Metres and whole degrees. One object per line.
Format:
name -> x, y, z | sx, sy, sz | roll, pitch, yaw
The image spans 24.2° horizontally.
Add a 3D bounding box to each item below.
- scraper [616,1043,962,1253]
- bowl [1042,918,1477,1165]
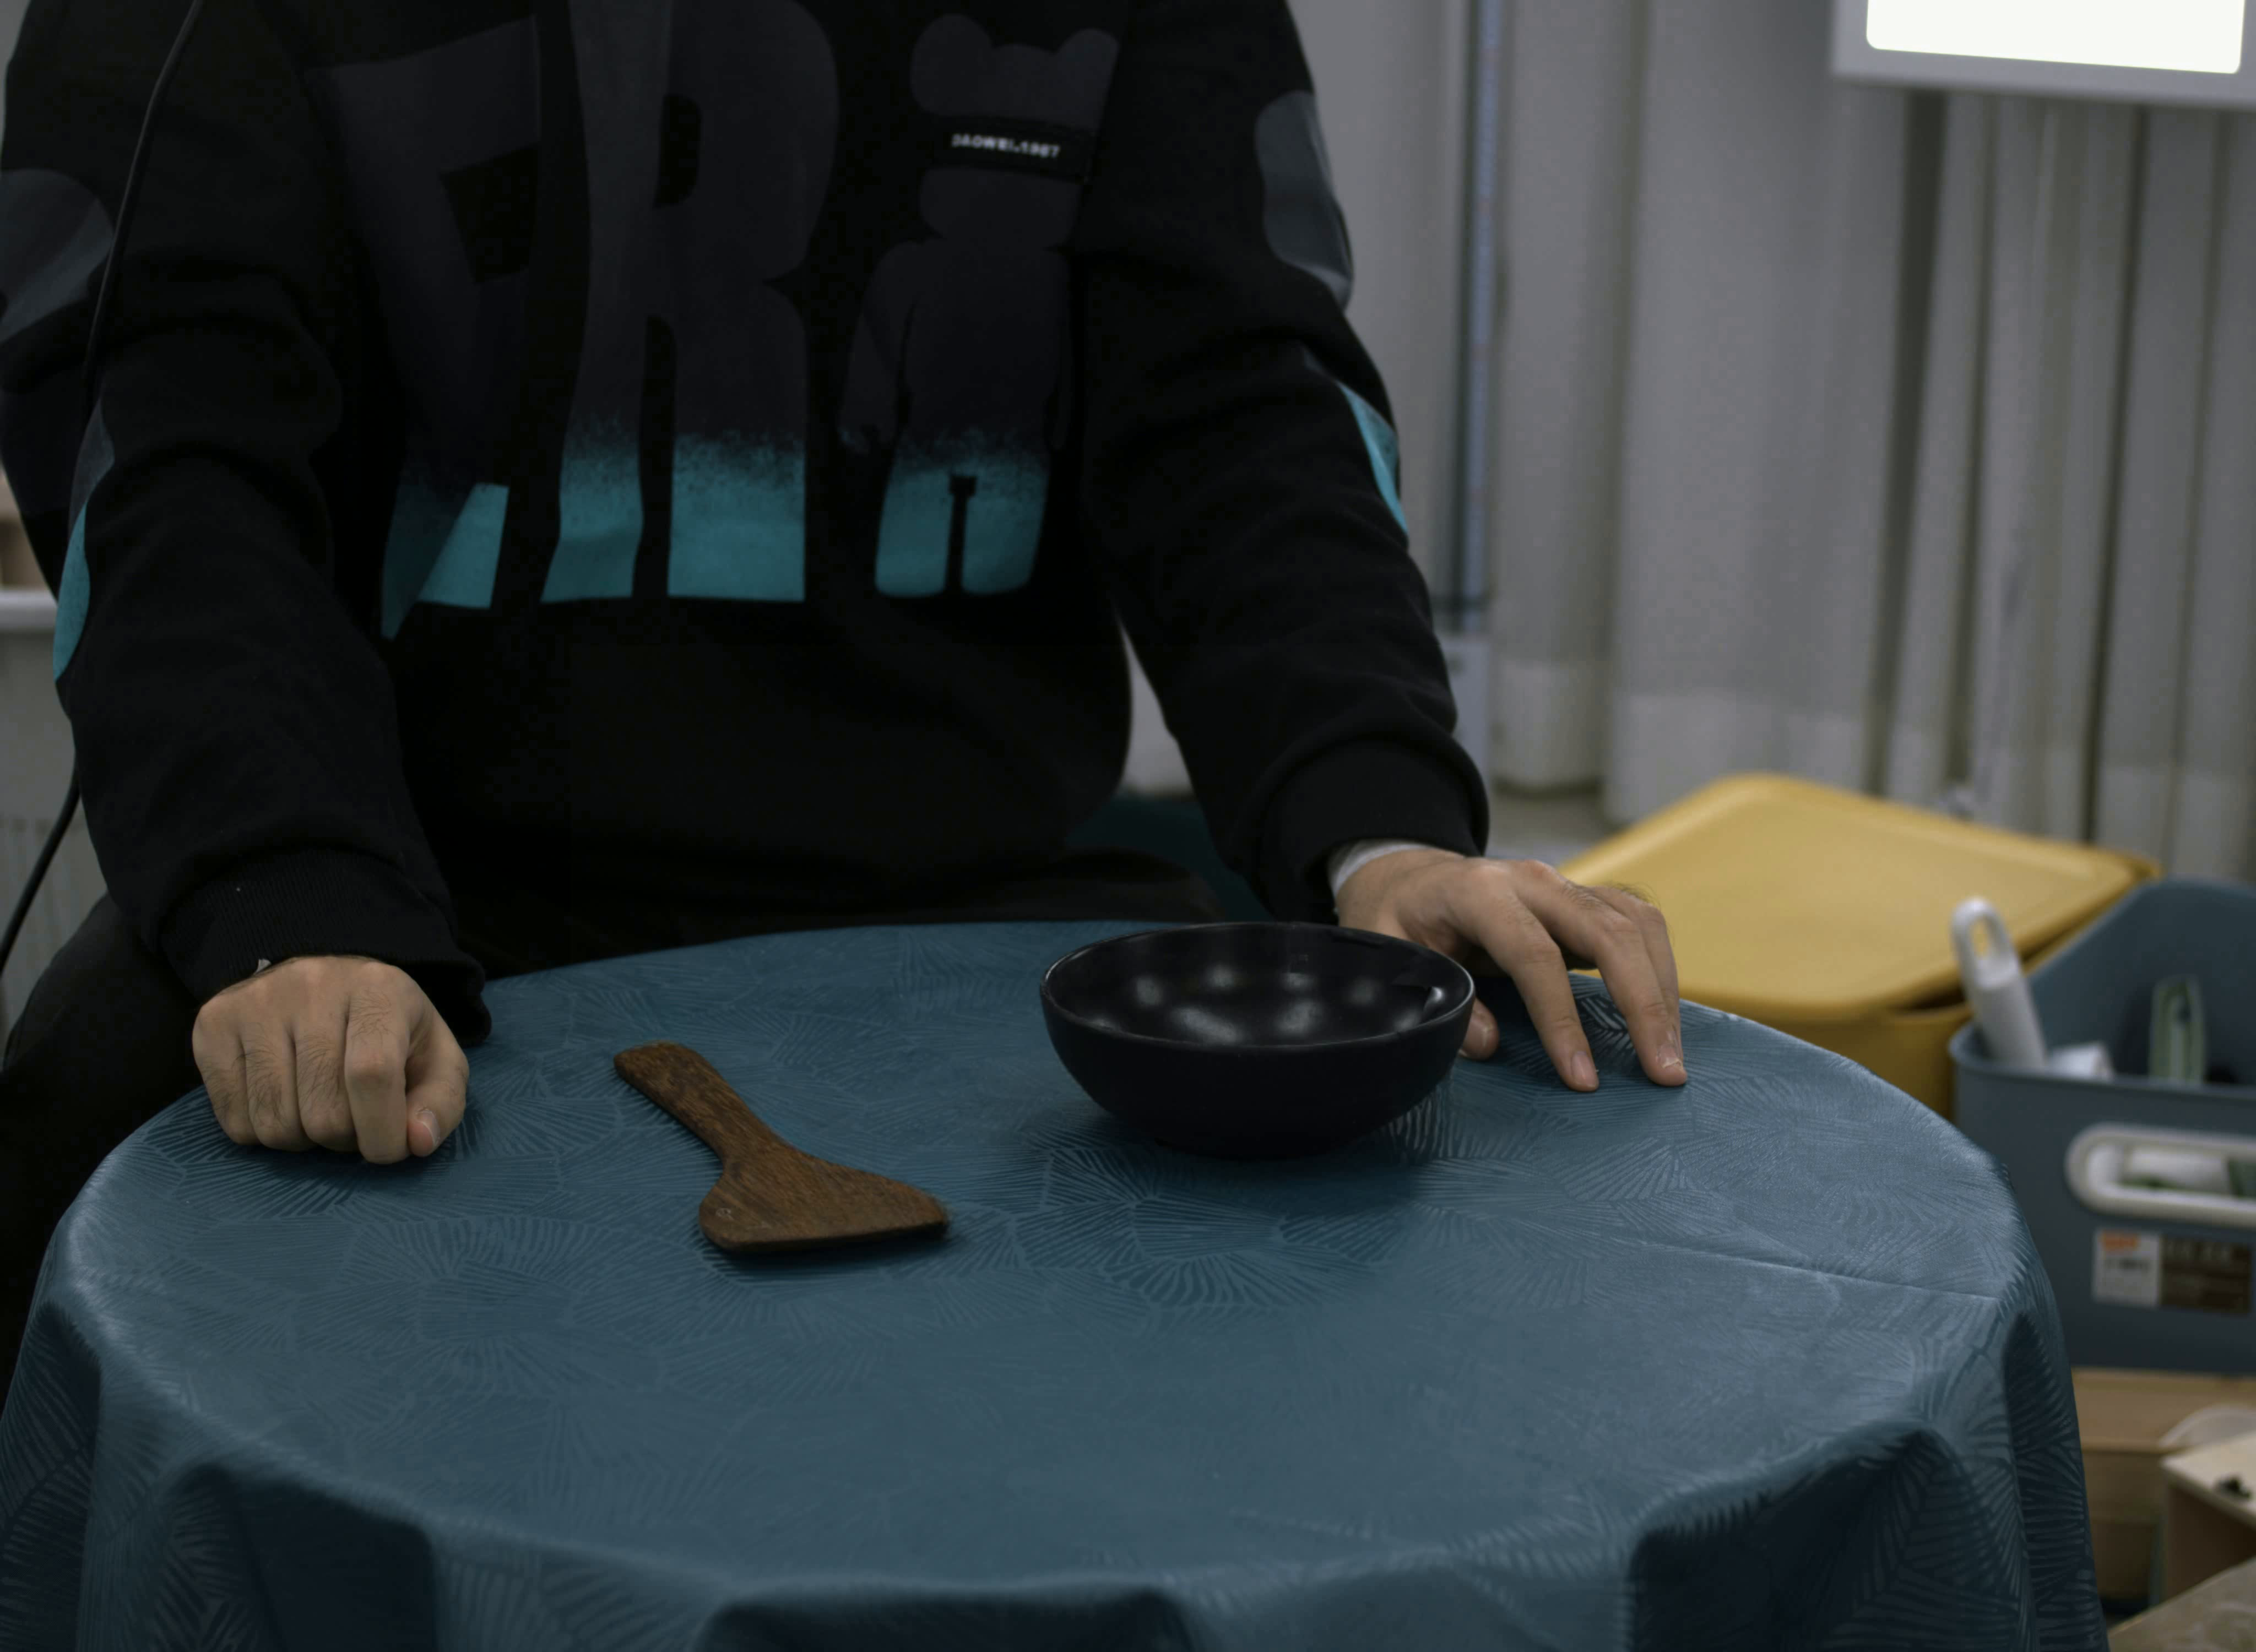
scraper -> -0.119, 0.100, 1.652 | 0.076, 0.011, 0.209 | -4, 16, -22
bowl -> 0.043, 0.073, 1.679 | 0.139, 0.050, 0.139 | -2, 16, 1
